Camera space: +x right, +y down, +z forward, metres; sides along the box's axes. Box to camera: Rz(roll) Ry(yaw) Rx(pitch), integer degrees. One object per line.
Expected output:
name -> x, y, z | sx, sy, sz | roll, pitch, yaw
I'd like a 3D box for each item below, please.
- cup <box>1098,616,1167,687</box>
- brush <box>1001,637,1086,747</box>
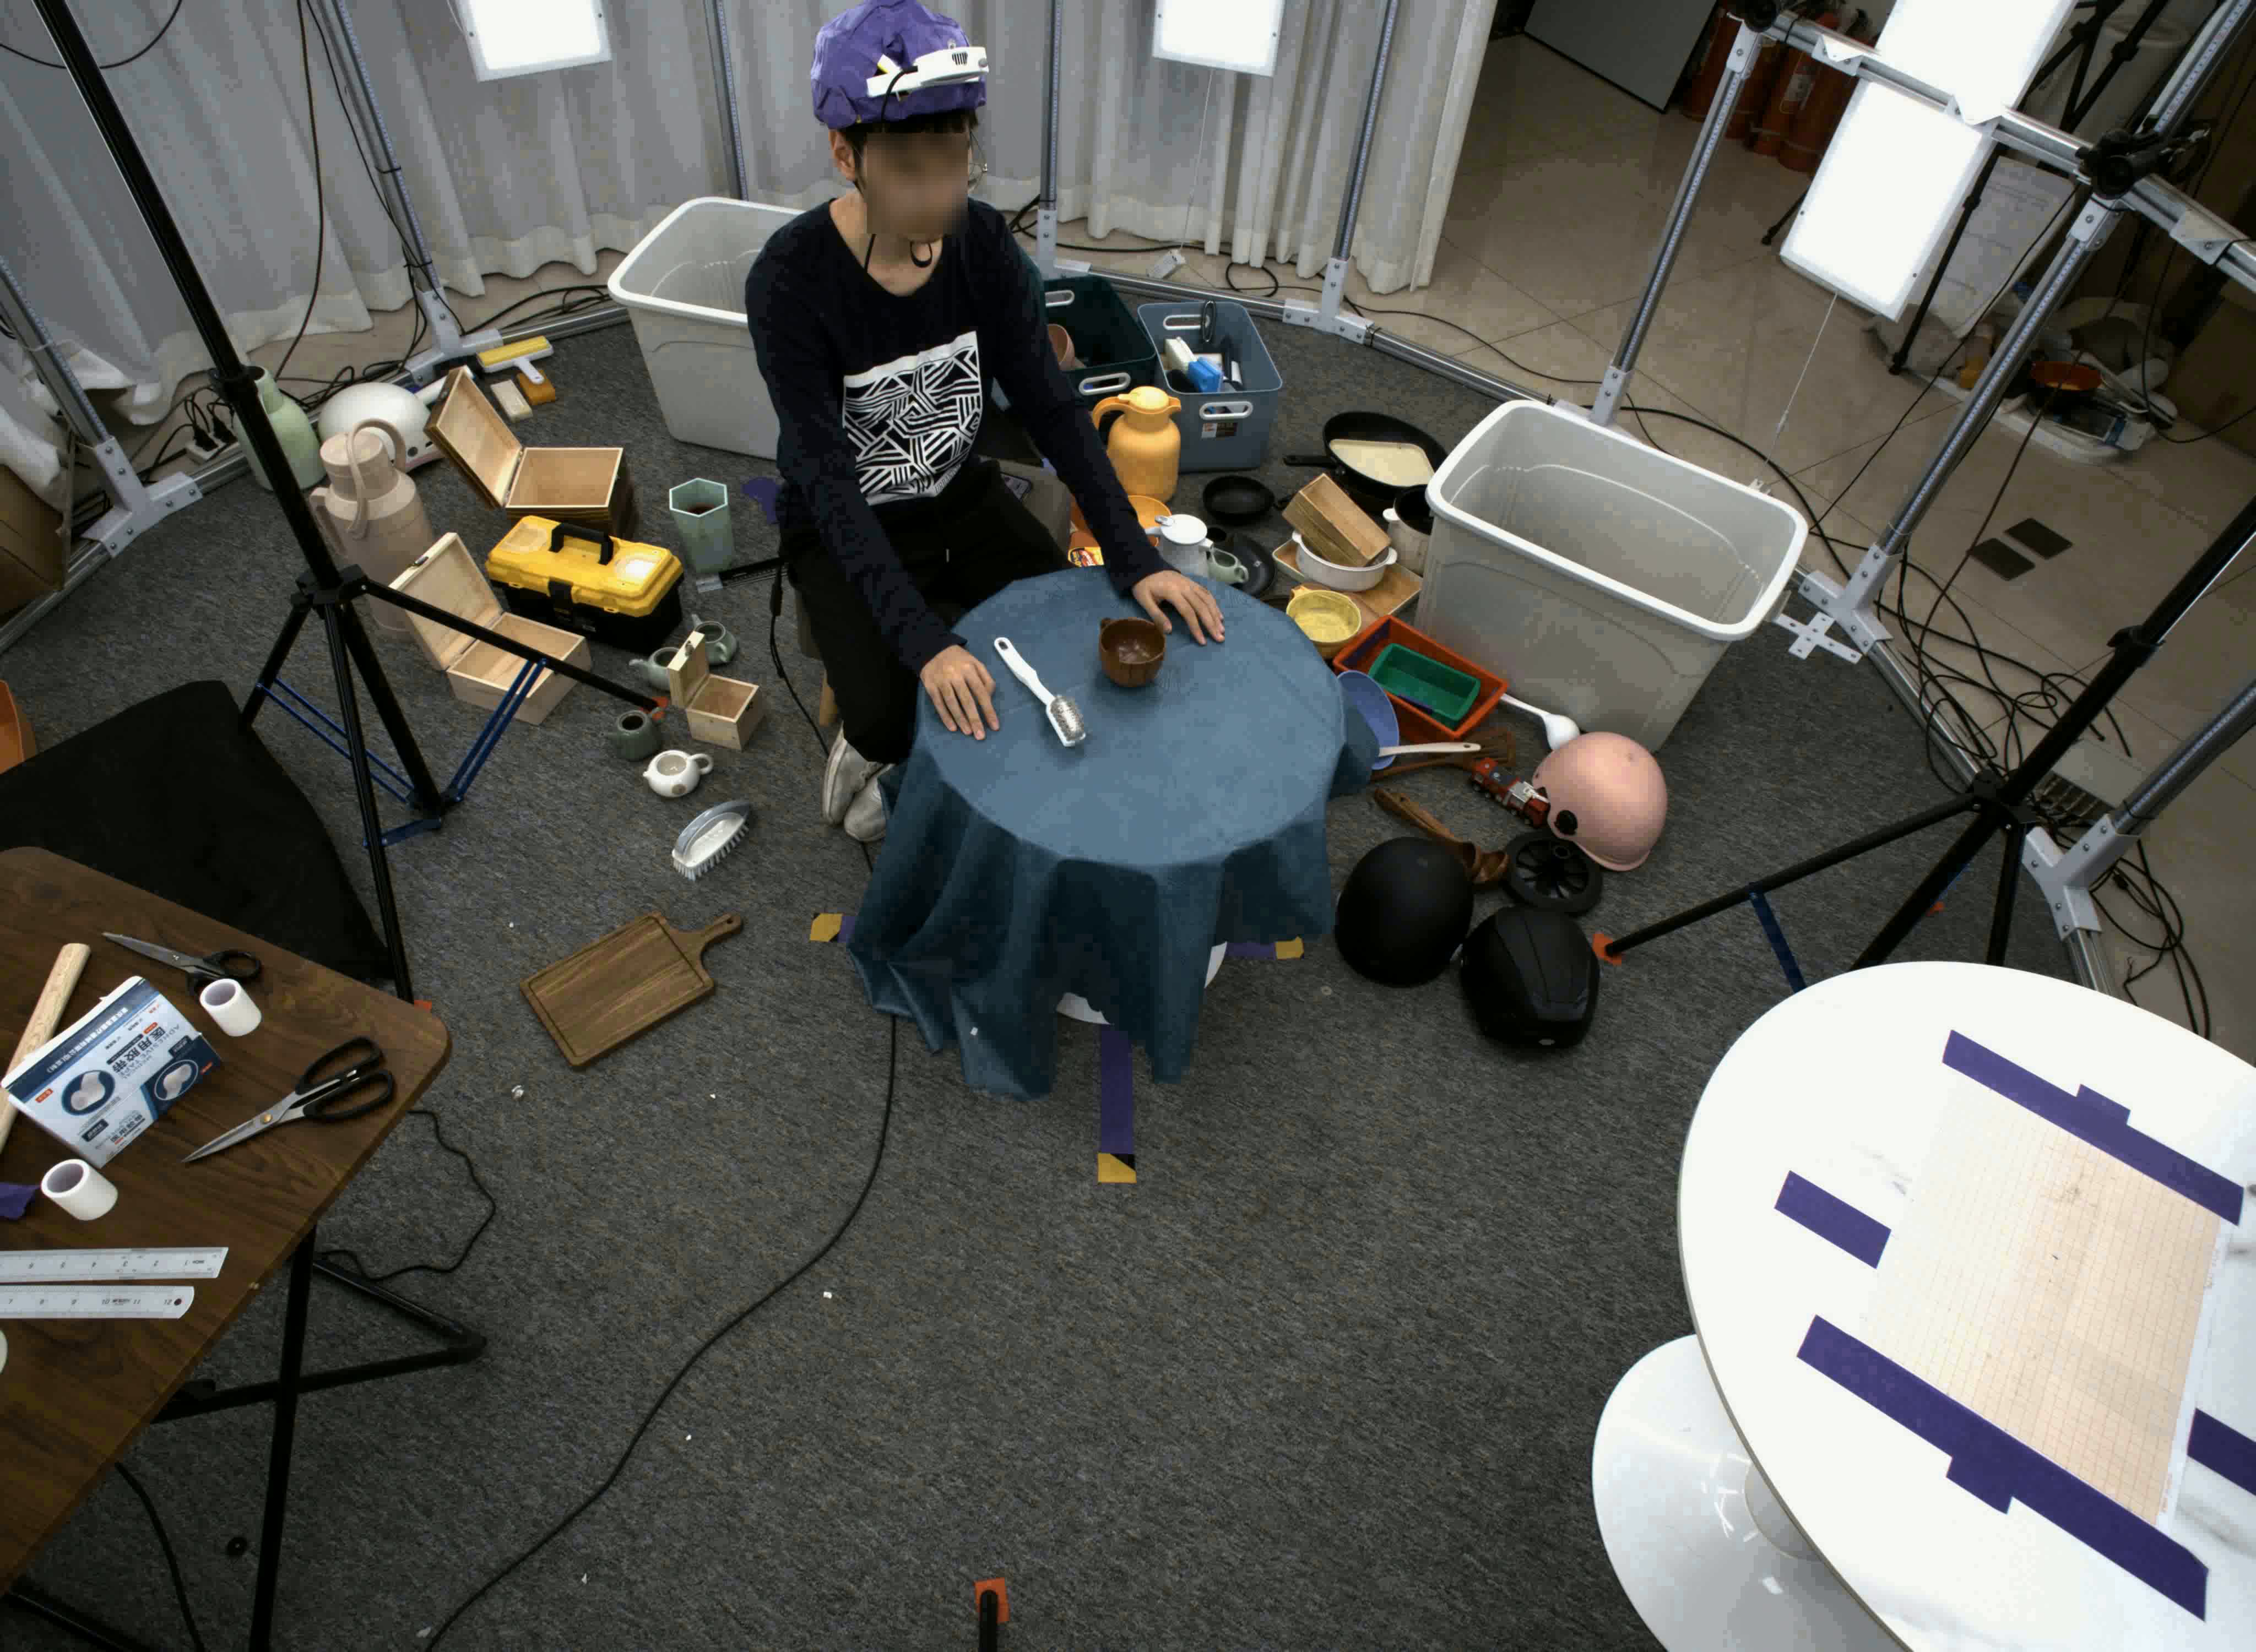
cup -> -0.002, -0.252, 1.842 | 0.097, 0.066, 0.121 | -30, 59, -25
brush -> -0.123, -0.202, 1.805 | 0.034, 0.049, 0.249 | -21, 53, -16
